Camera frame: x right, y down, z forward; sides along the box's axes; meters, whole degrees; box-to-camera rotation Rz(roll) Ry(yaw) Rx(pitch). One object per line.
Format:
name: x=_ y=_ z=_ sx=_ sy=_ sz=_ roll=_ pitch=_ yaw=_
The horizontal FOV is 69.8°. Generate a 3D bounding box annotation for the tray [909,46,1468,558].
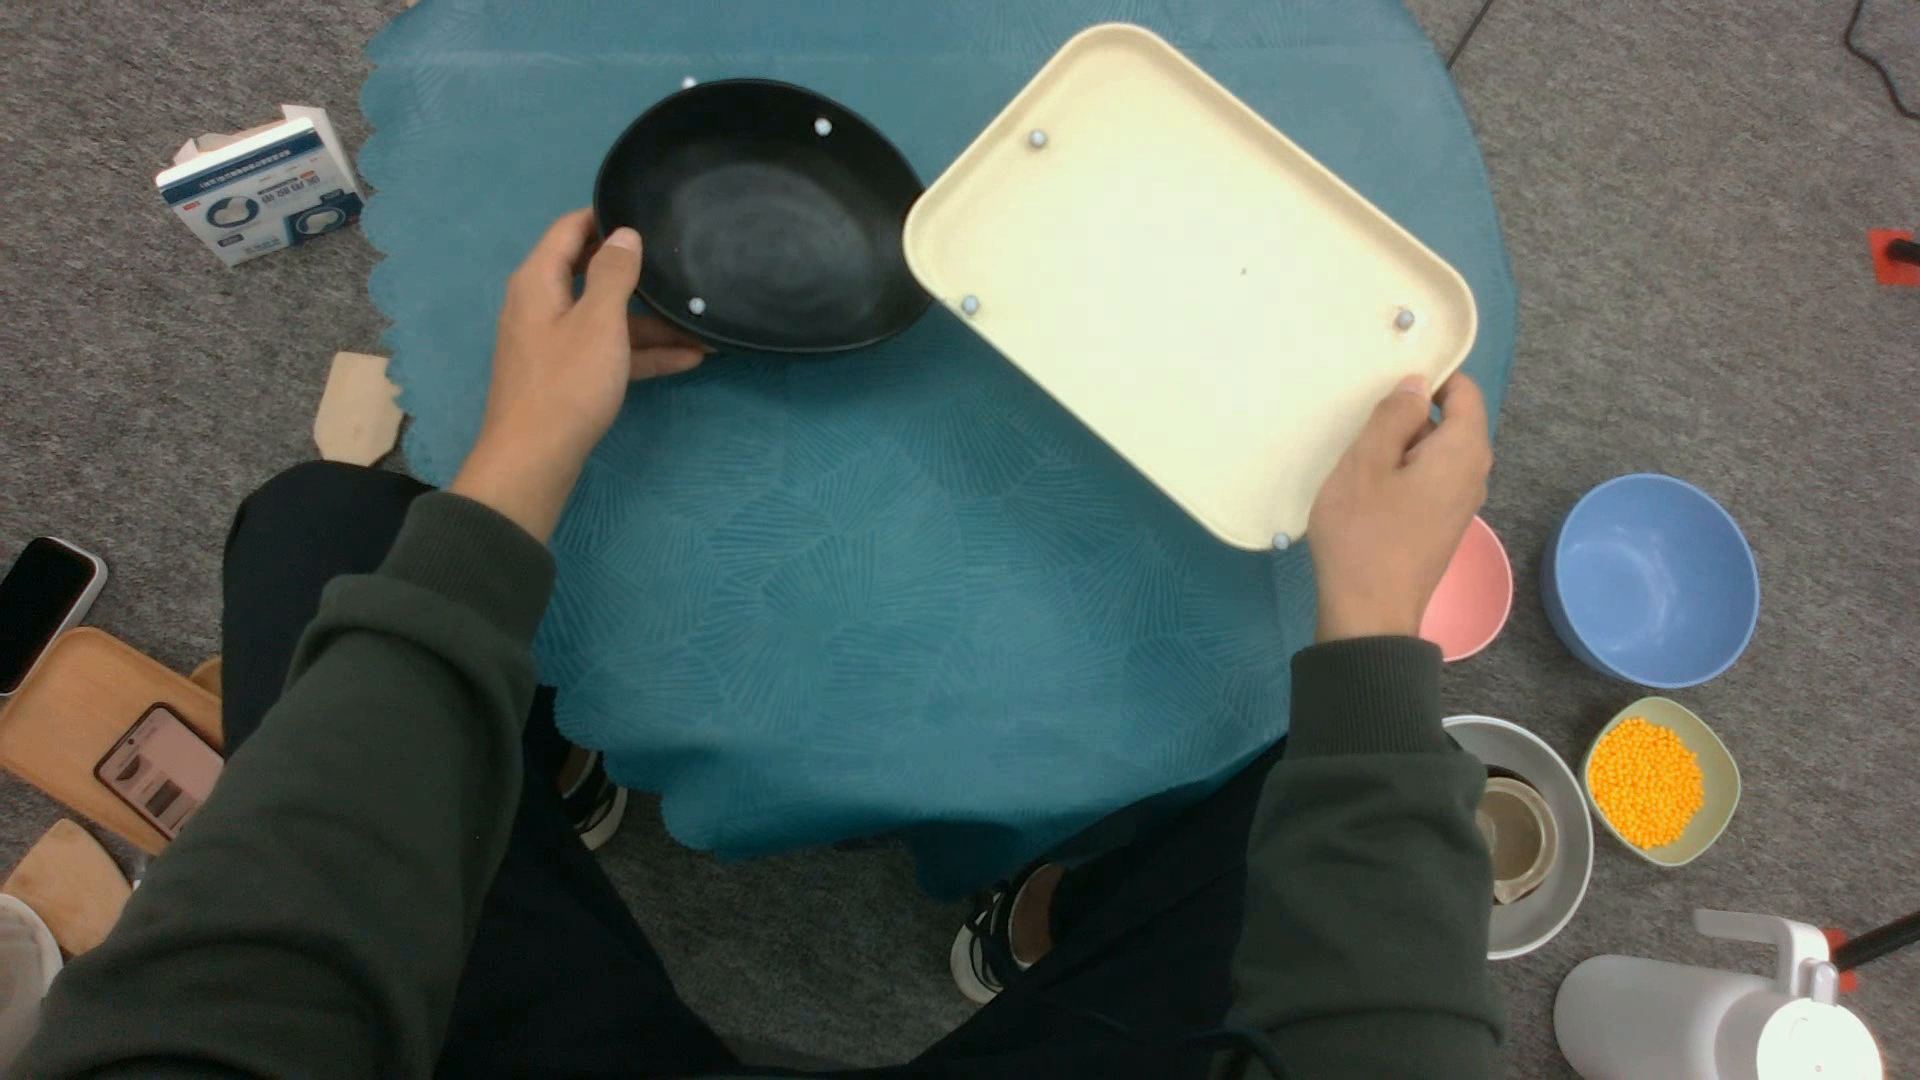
tray: x=0.108 y=-0.117 z=0.661 sx=0.240 sy=0.017 sz=0.171 roll=41 pitch=81 yaw=8

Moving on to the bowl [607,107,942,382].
bowl: x=-0.092 y=-0.143 z=0.705 sx=0.170 sy=0.066 sz=0.137 roll=15 pitch=78 yaw=-5
